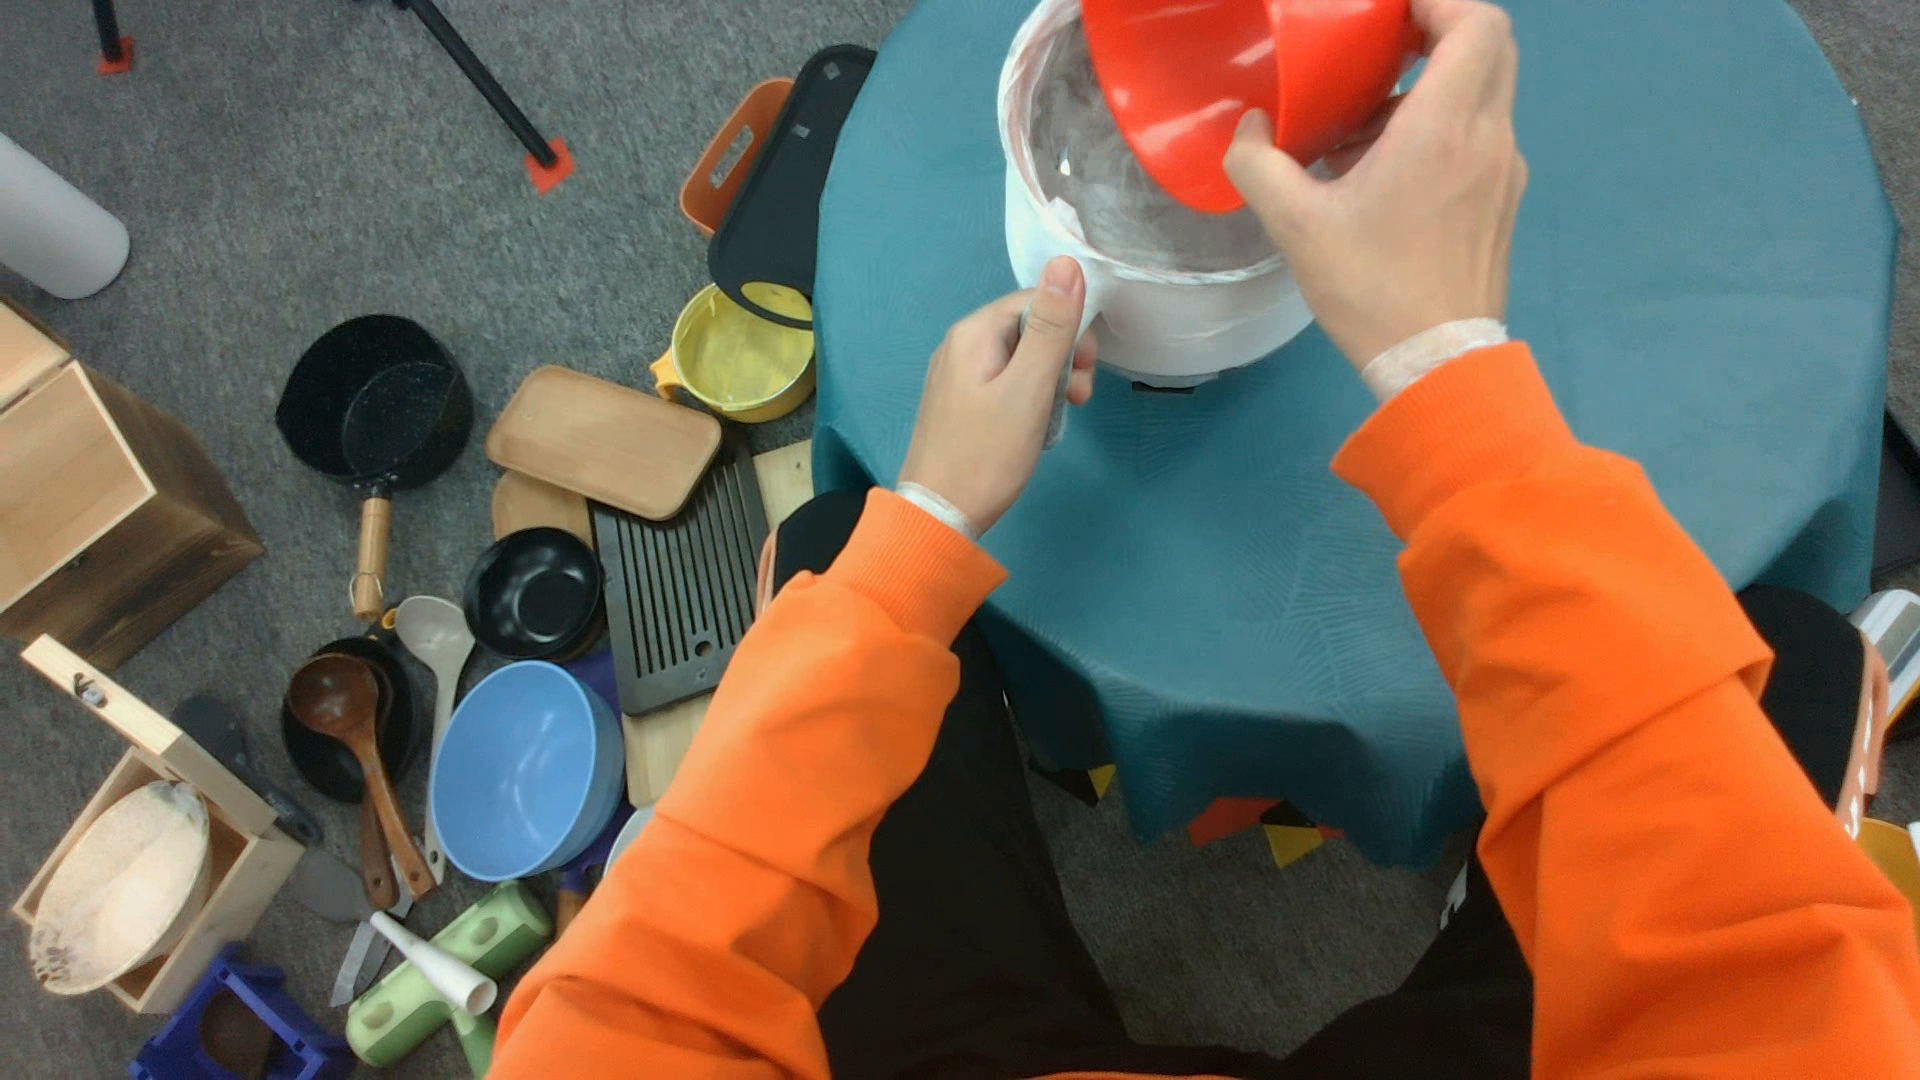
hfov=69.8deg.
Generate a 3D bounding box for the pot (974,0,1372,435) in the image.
[{"bbox_3d":[0.083,-0.161,0.669,0.179,0.136,0.234,31,77,12],"label":"pot"}]

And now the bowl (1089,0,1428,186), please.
[{"bbox_3d":[0.129,-0.233,0.583,0.105,0.147,0.148,-18,69,-8],"label":"bowl"}]
